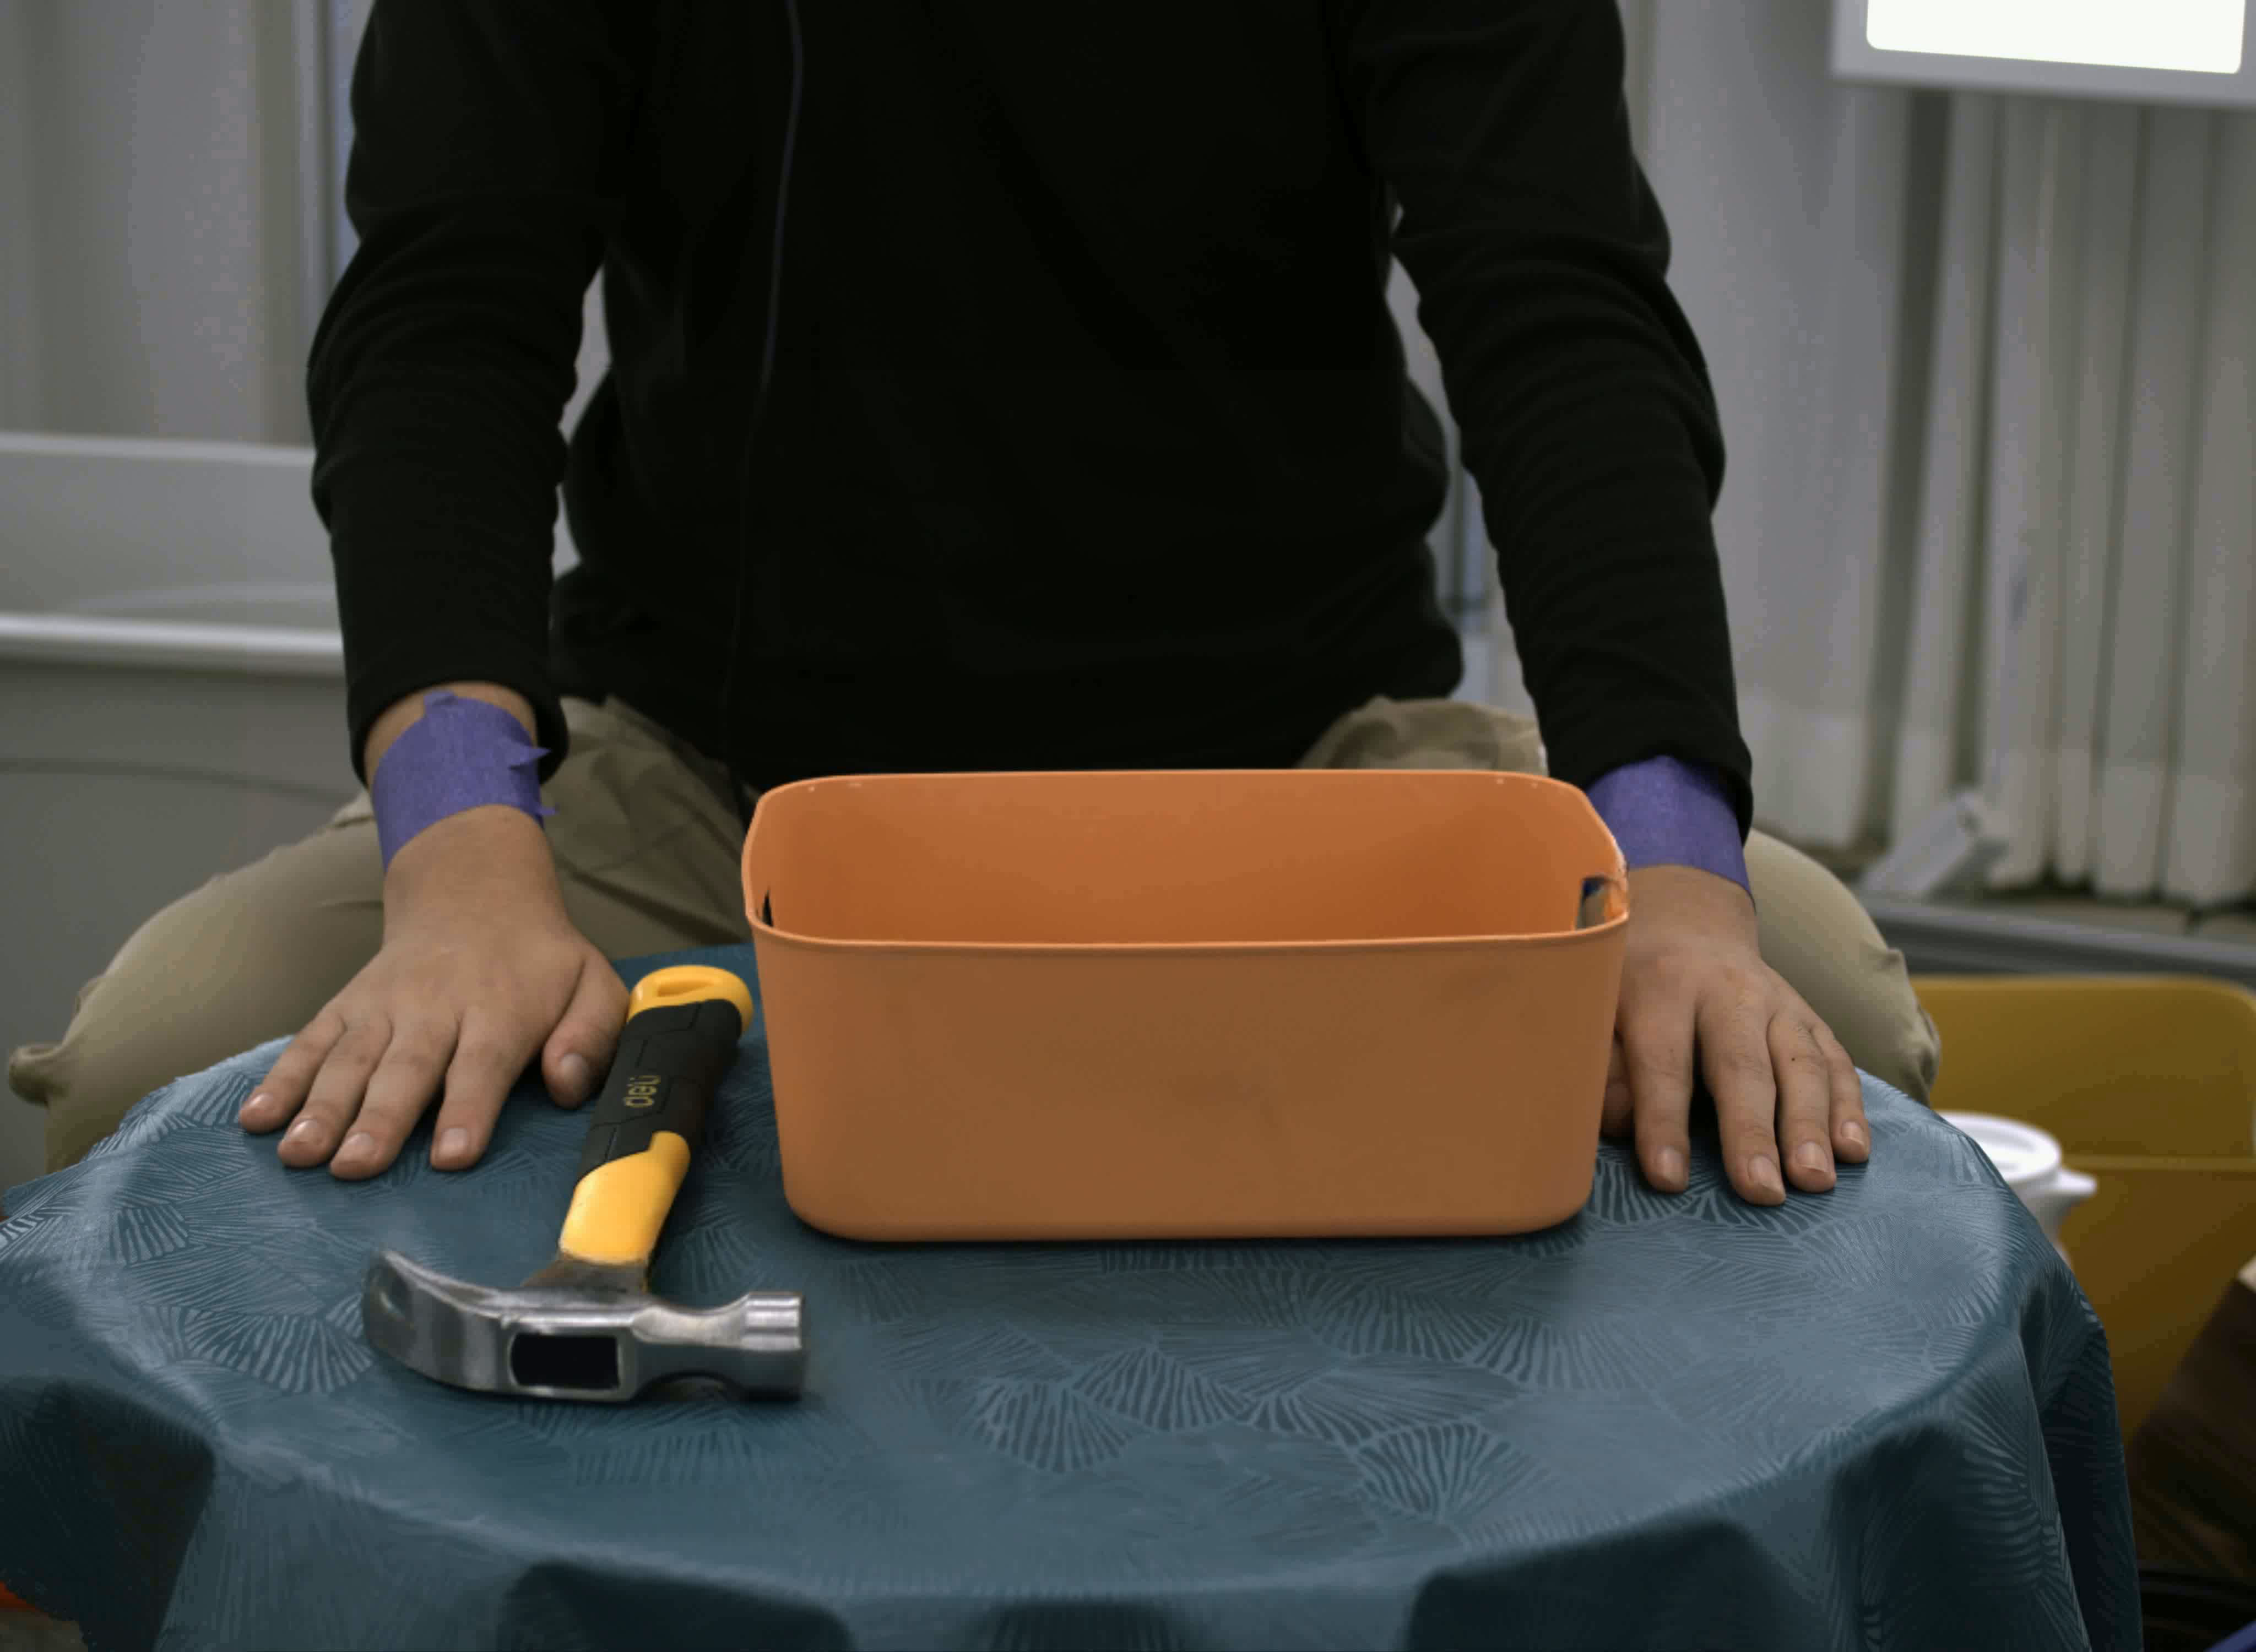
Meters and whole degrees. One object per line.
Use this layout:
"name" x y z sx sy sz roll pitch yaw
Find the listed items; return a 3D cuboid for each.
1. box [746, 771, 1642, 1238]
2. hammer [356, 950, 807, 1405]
"box" 0.017 0.054 1.639 0.272 0.103 0.198 0 15 -3
"hammer" -0.149 0.099 1.599 0.131 0.032 0.337 1 16 2
